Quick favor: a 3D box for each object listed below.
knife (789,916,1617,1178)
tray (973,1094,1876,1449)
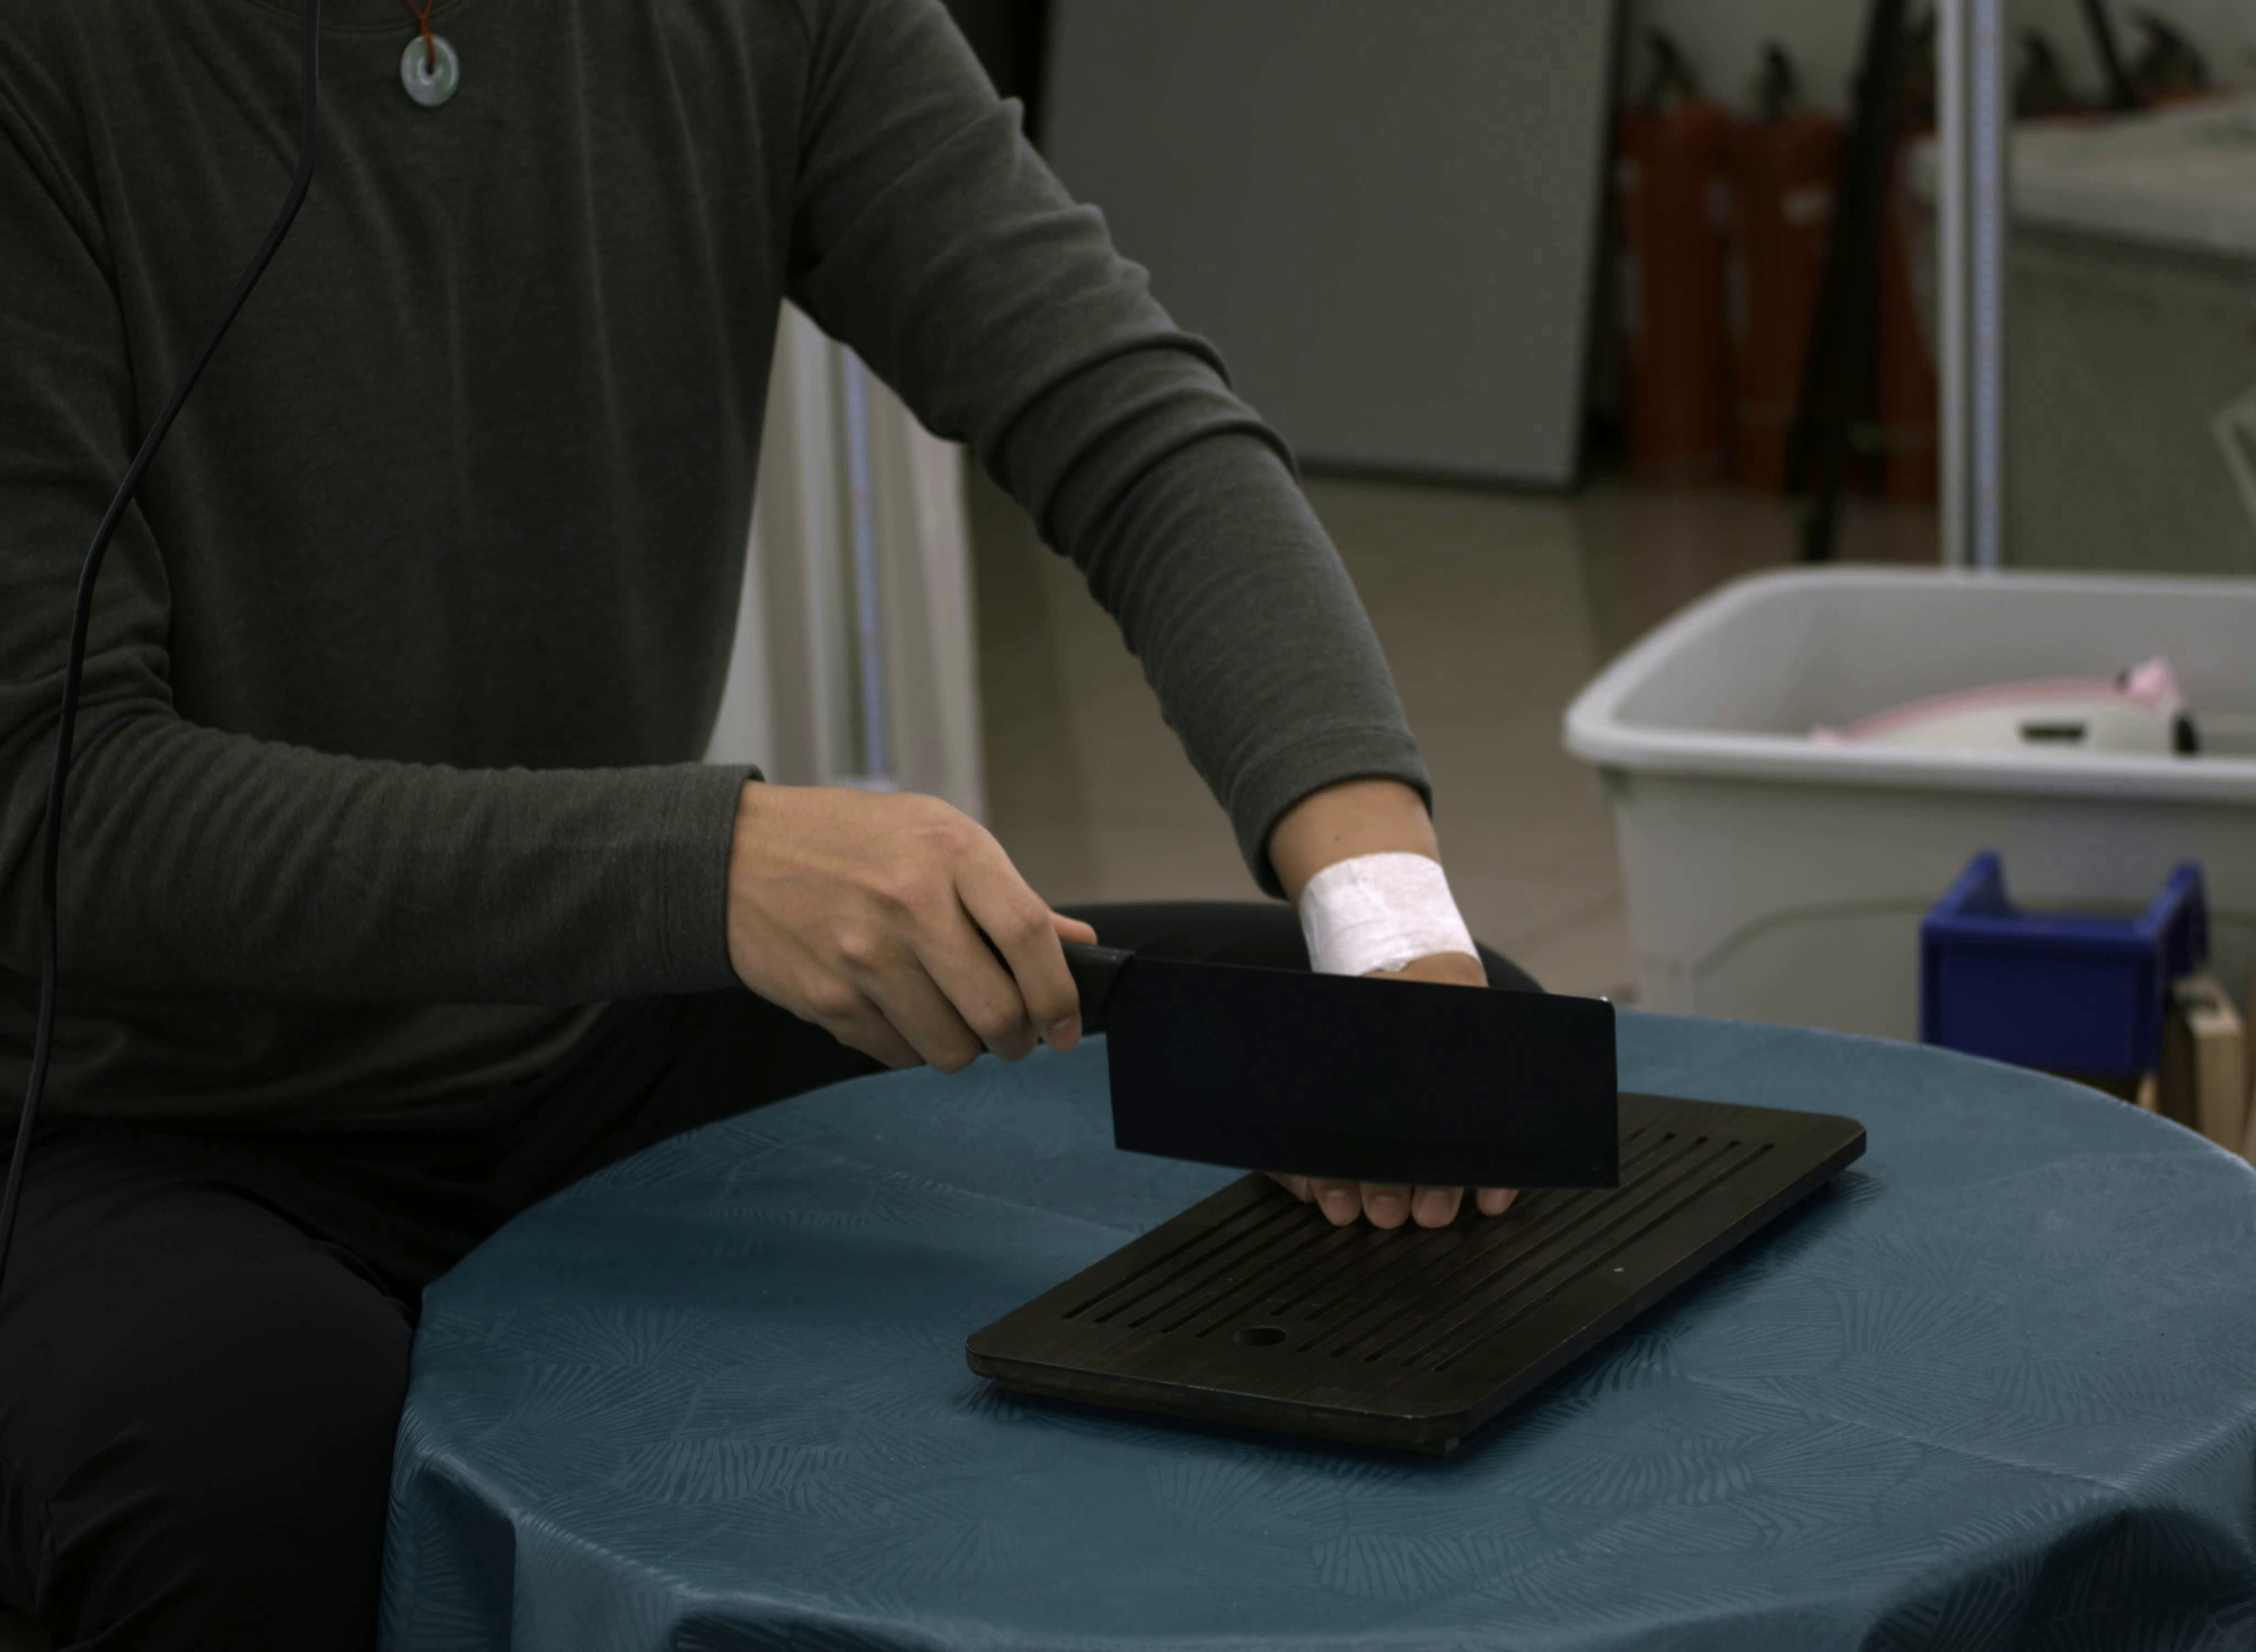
[{"bbox_3d":[0.019,0.067,1.684,0.304,0.082,0.020,8,15,32],"label":"knife"},{"bbox_3d":[0.098,0.132,1.662,0.171,0.019,0.301,3,15,32],"label":"tray"}]
